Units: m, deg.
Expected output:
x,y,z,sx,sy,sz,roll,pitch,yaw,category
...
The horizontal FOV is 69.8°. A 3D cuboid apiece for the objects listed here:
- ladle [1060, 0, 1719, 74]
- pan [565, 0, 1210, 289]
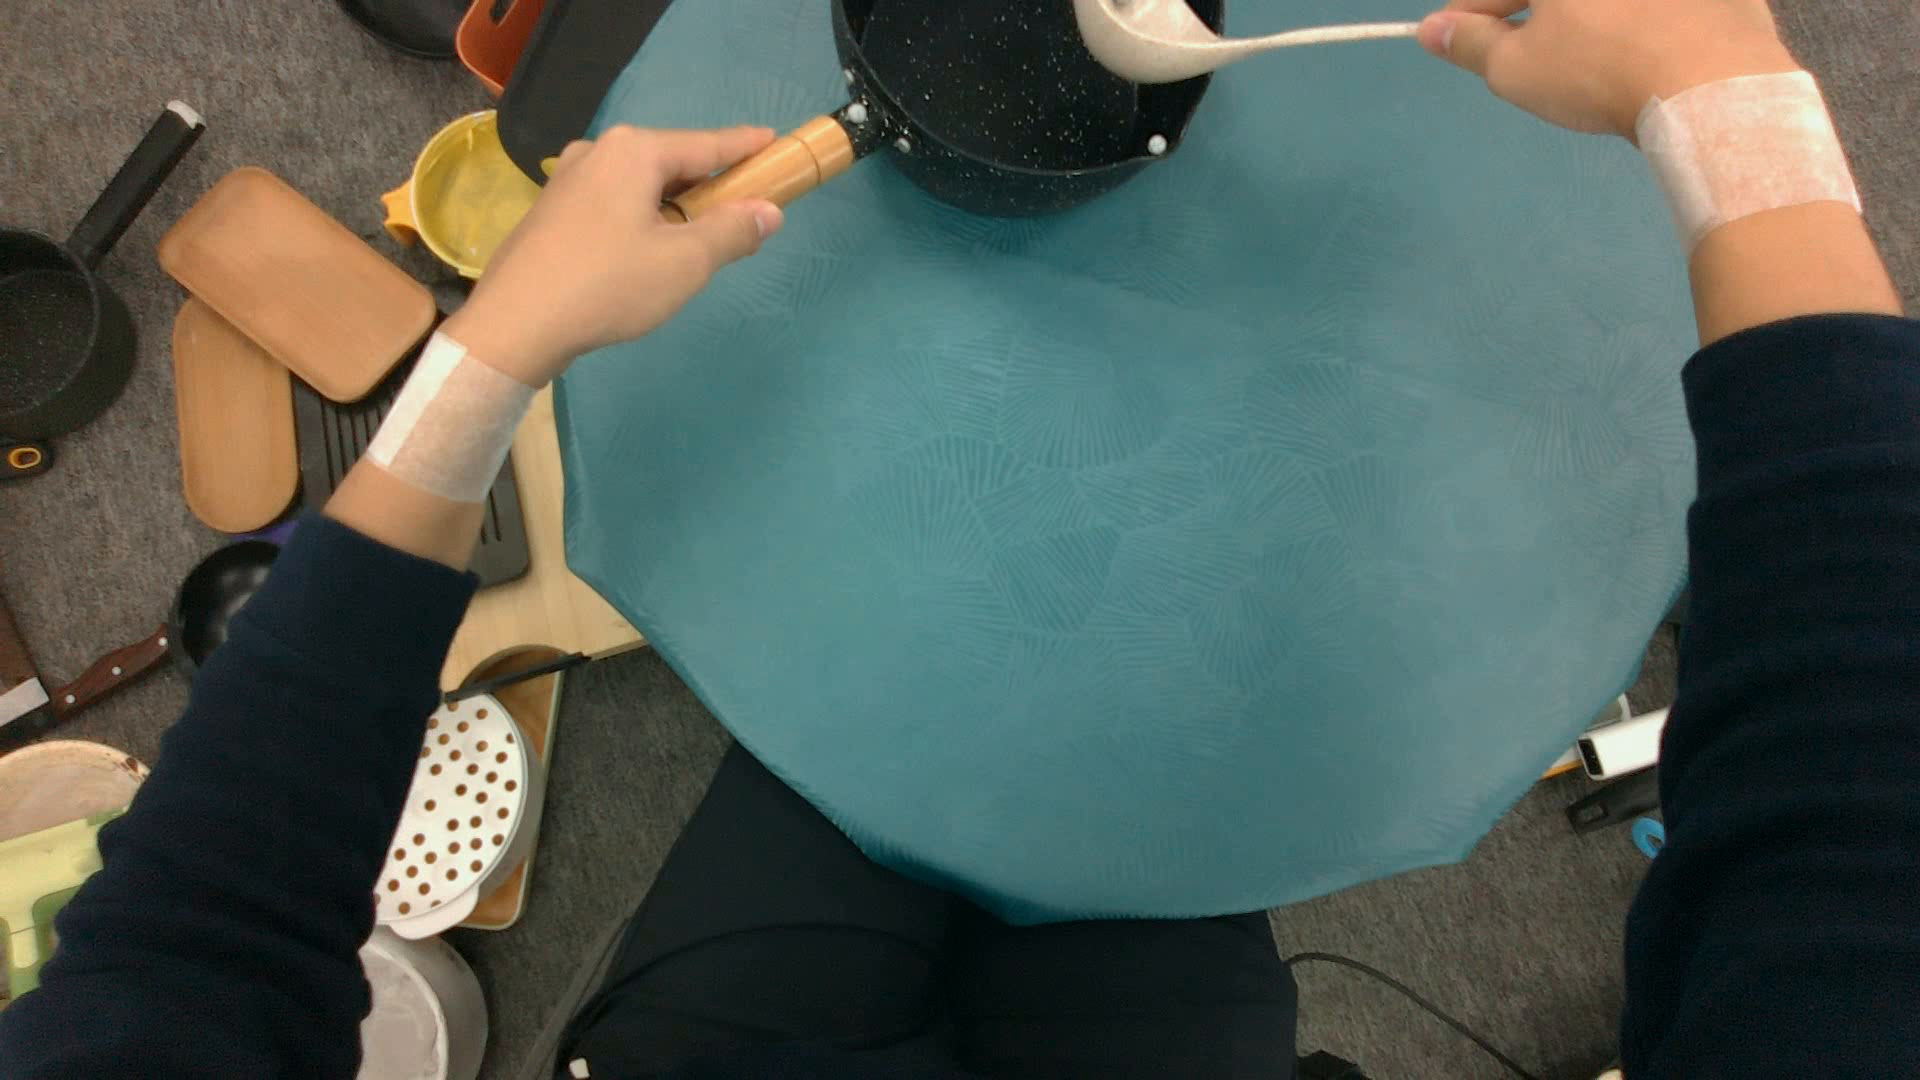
x,y,z,sx,sy,sz,roll,pitch,yaw,category
0.171,-0.241,0.587,0.274,0.090,0.069,7,110,29,ladle
-0.035,-0.203,0.644,0.344,0.108,0.207,-41,89,-17,pan
